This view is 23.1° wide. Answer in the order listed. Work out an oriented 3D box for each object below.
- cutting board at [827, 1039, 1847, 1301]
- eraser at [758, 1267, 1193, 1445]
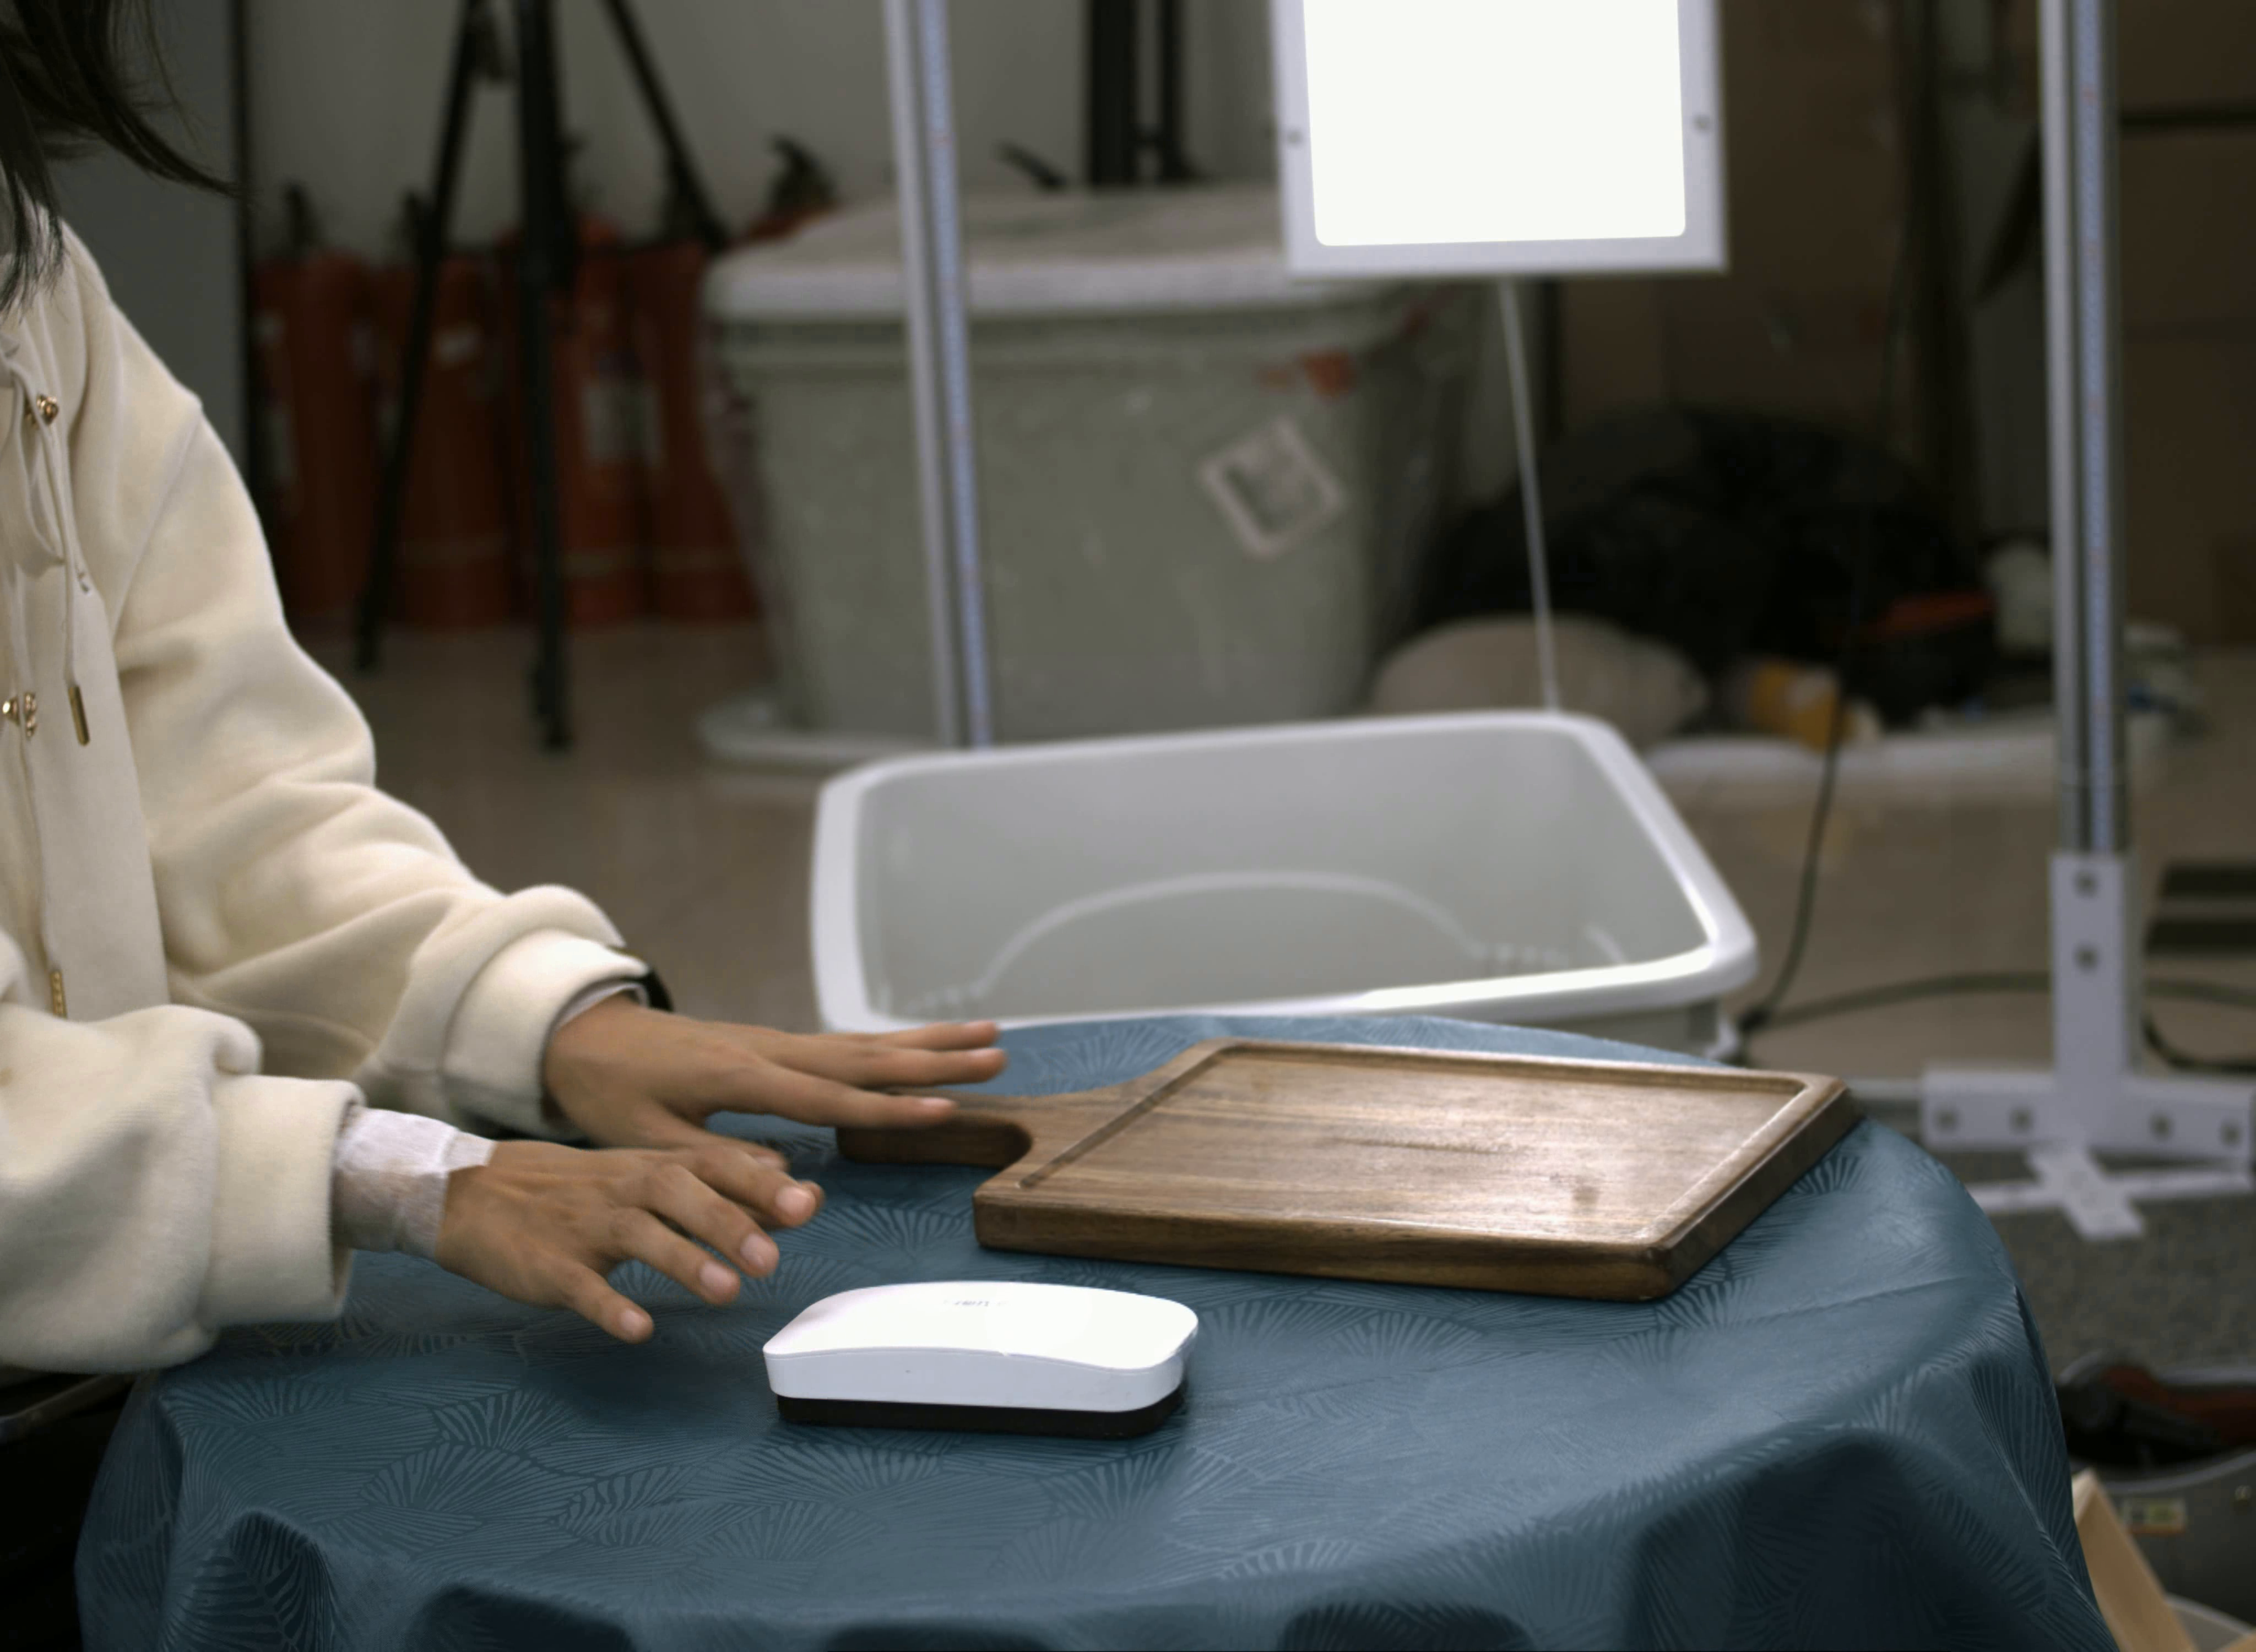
[{"bbox_3d":[0.054,0.112,1.894,0.358,0.023,0.197,2,15,27],"label":"cutting board"},{"bbox_3d":[-0.046,0.163,1.700,0.133,0.034,0.062,1,16,23],"label":"eraser"}]
